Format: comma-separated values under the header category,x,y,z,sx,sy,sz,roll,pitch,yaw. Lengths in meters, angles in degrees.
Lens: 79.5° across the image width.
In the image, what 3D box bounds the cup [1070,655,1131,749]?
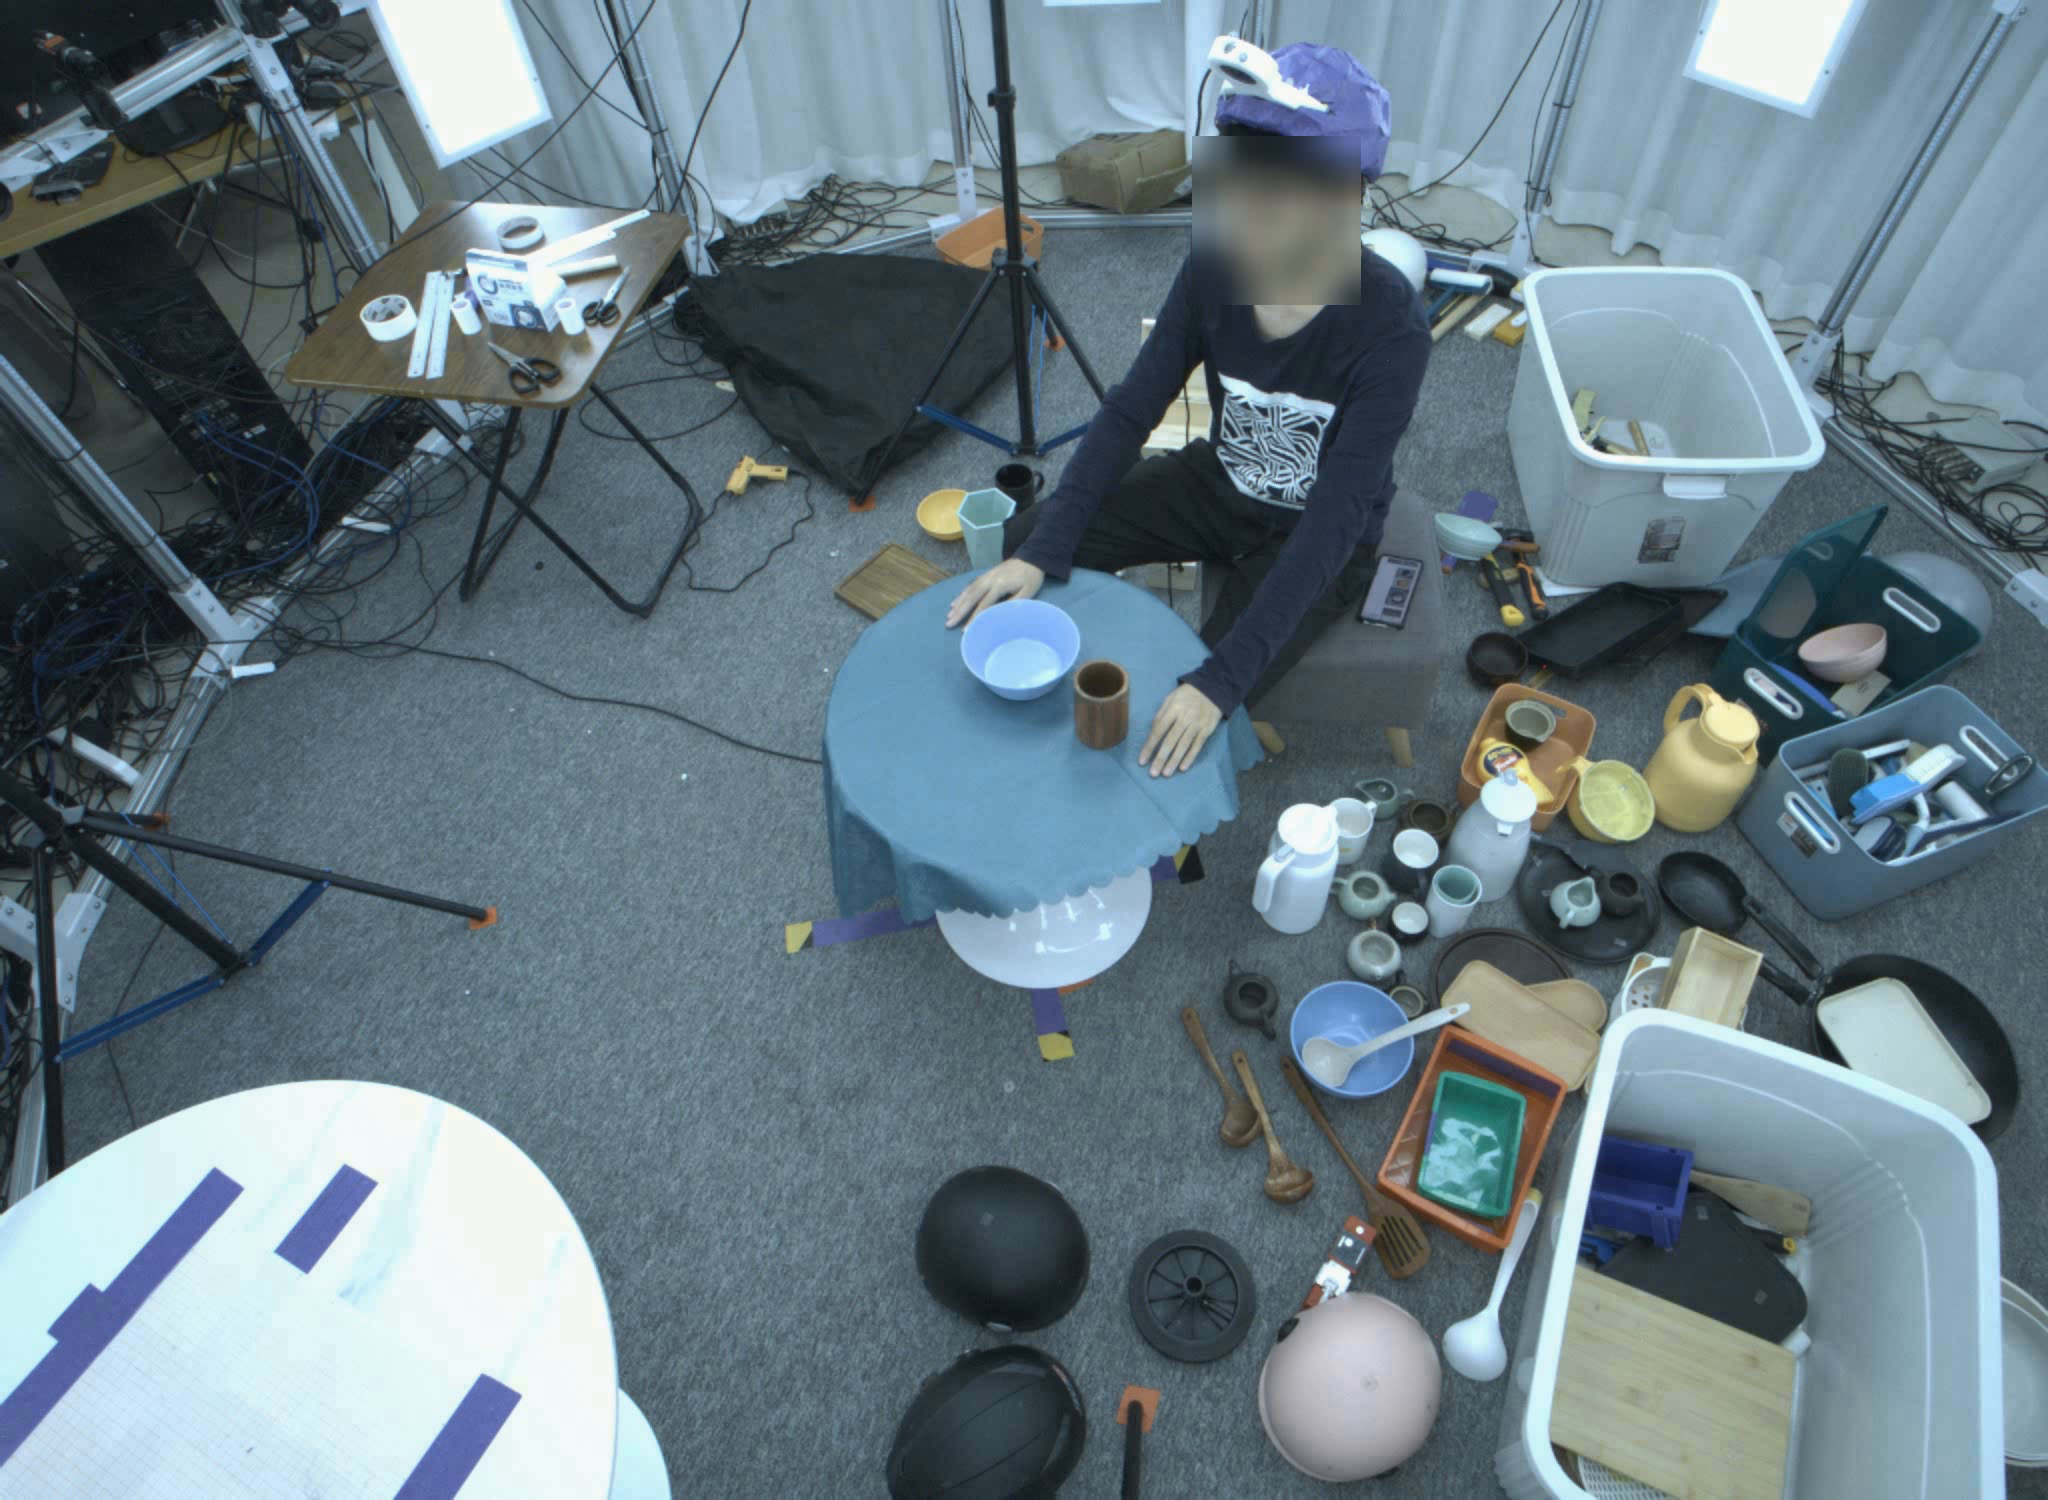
category,x,y,z,sx,sy,sz,roll,pitch,yaw
cup,0.108,-0.067,1.752,0.088,0.119,0.087,0,53,1

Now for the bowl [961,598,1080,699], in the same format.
category,x,y,z,sx,sy,sz,roll,pitch,yaw
bowl,-0.004,-0.141,1.838,0.176,0.071,0.174,0,54,1
